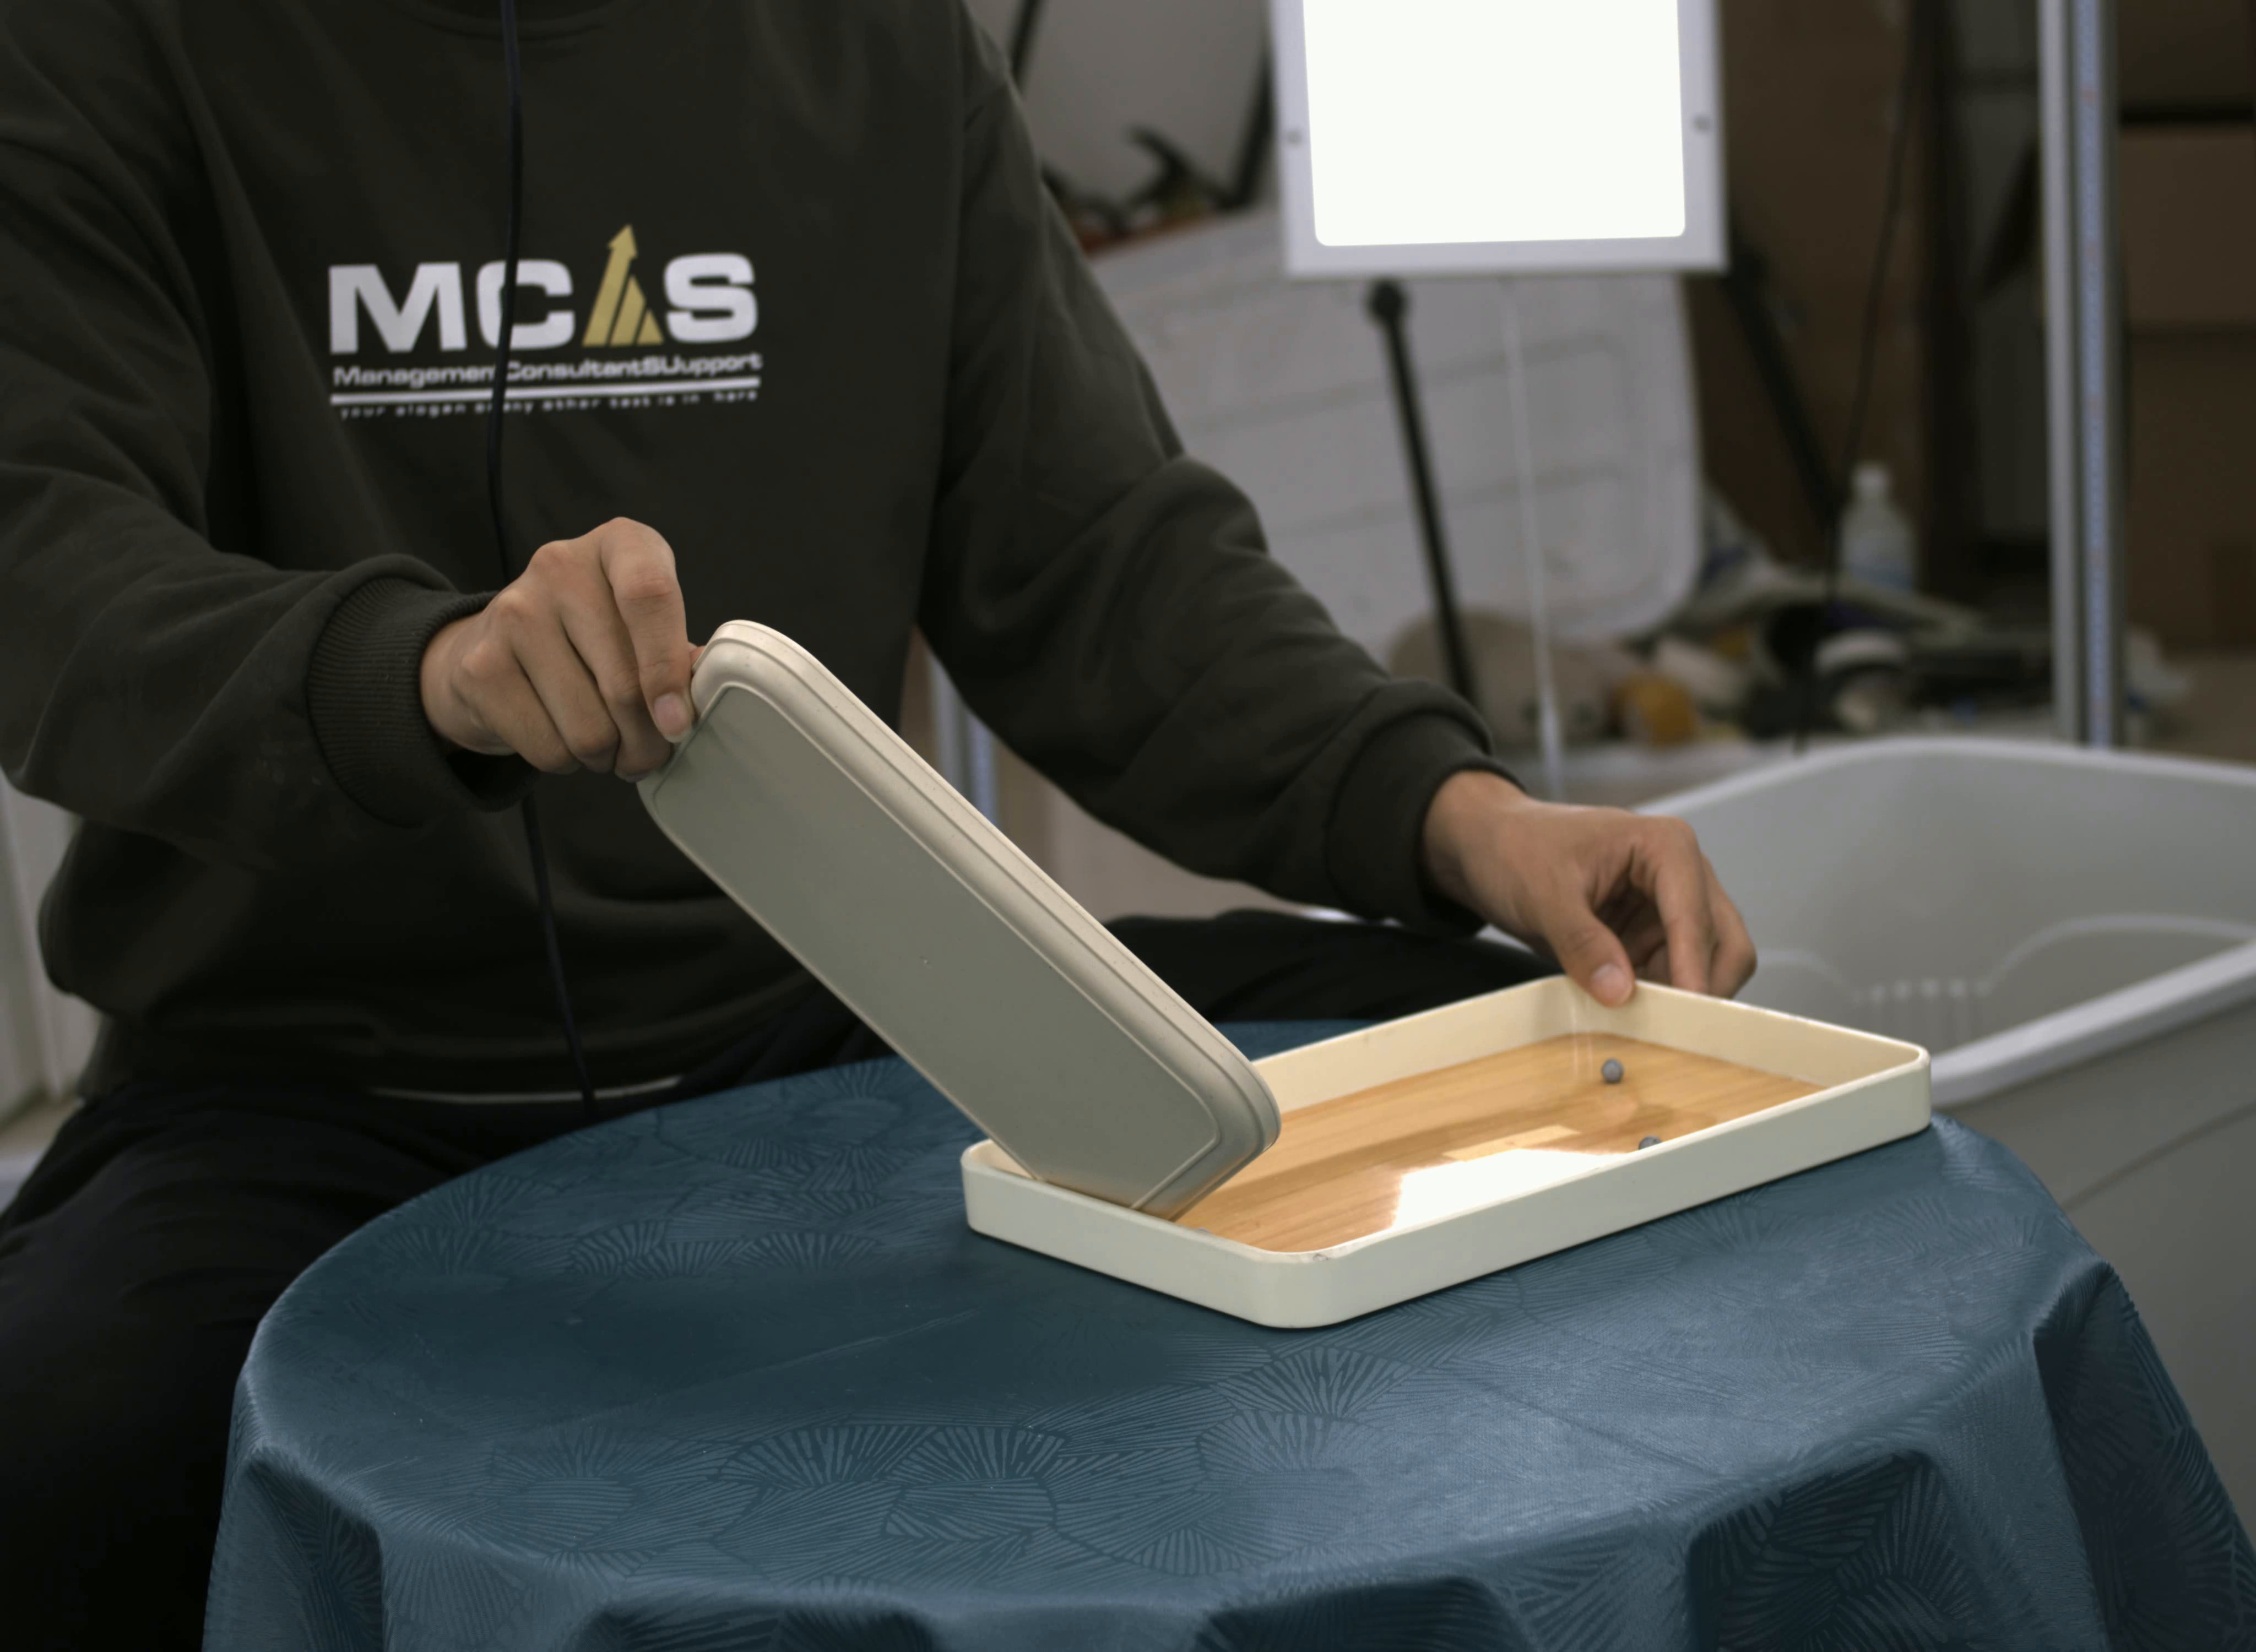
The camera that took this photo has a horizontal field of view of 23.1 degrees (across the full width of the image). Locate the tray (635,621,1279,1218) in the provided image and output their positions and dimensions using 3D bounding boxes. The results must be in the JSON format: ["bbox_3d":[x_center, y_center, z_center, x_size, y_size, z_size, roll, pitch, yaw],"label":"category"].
[{"bbox_3d":[-0.061,0.040,1.776,0.017,0.240,0.173,-47,-1,-24],"label":"tray"}]

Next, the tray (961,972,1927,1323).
[{"bbox_3d":[0.111,0.106,1.887,0.293,0.027,0.195,-14,16,-34],"label":"tray"}]
